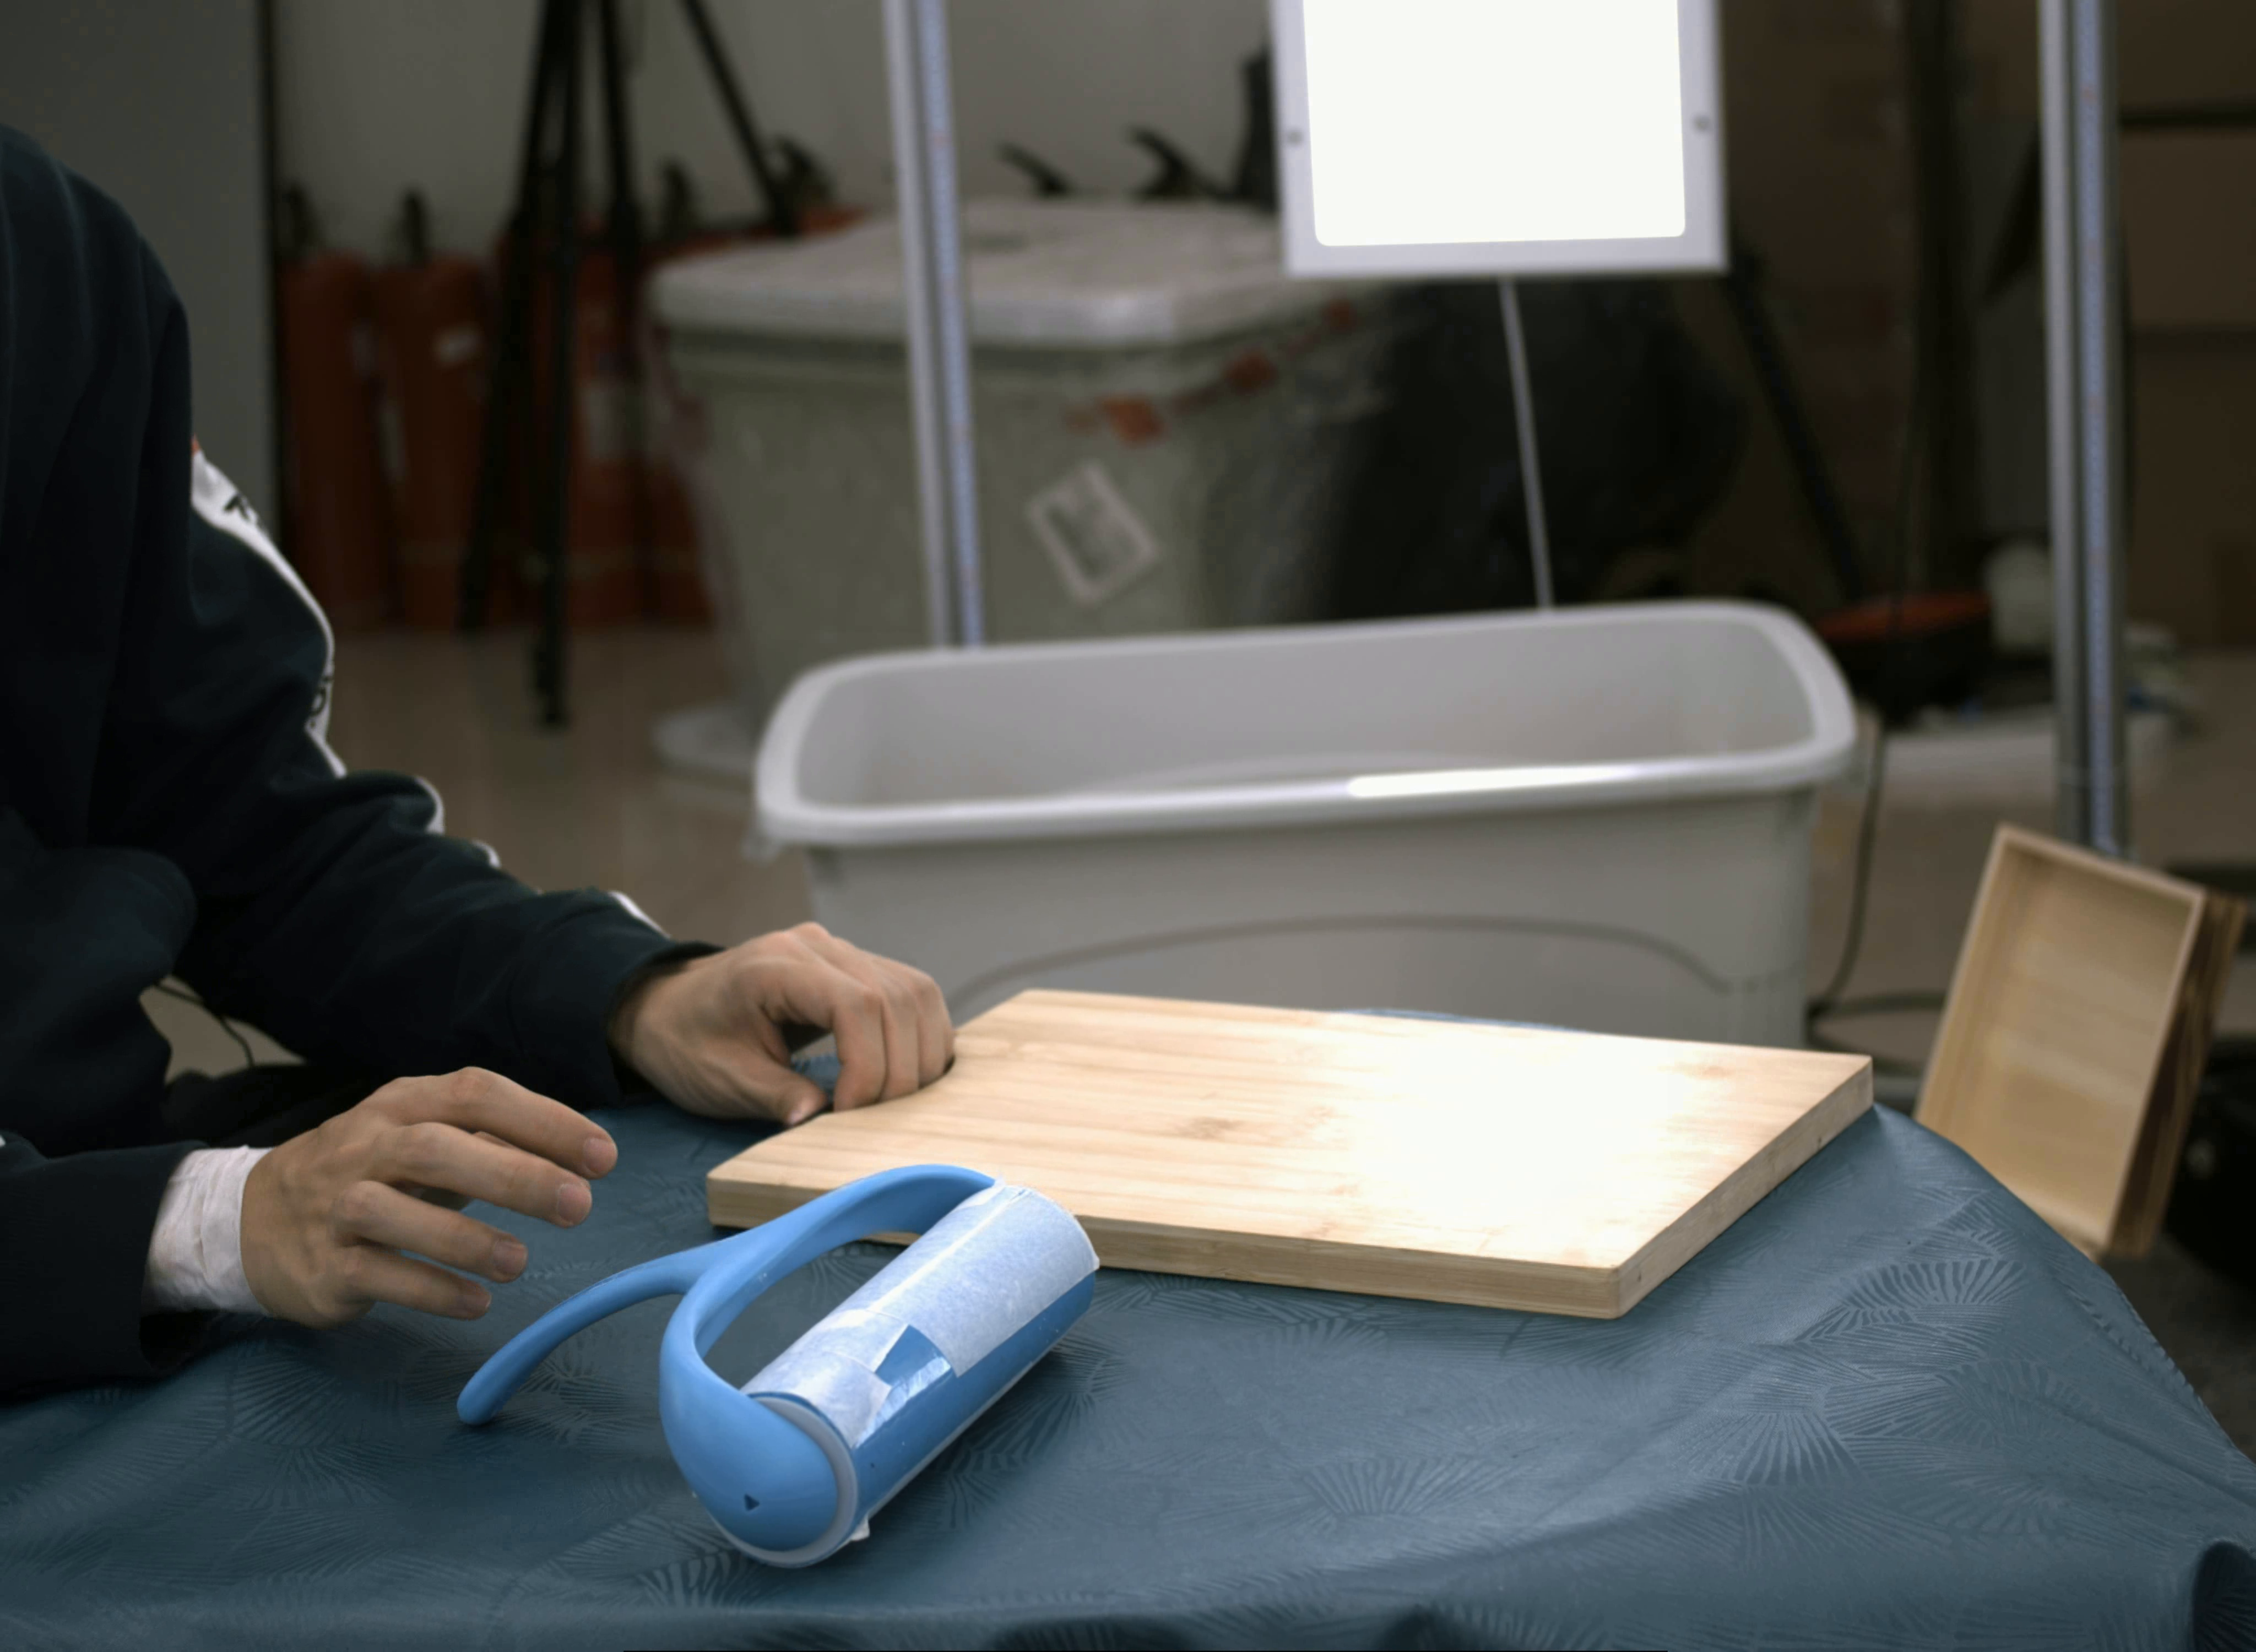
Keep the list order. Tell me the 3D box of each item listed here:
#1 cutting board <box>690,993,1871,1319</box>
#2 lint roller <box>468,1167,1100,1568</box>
[{"bbox_3d":[0.055,0.110,1.907,0.355,0.023,0.245,3,16,28],"label":"cutting board"},{"bbox_3d":[-0.122,0.161,1.679,0.182,0.068,0.225,0,16,19],"label":"lint roller"}]
